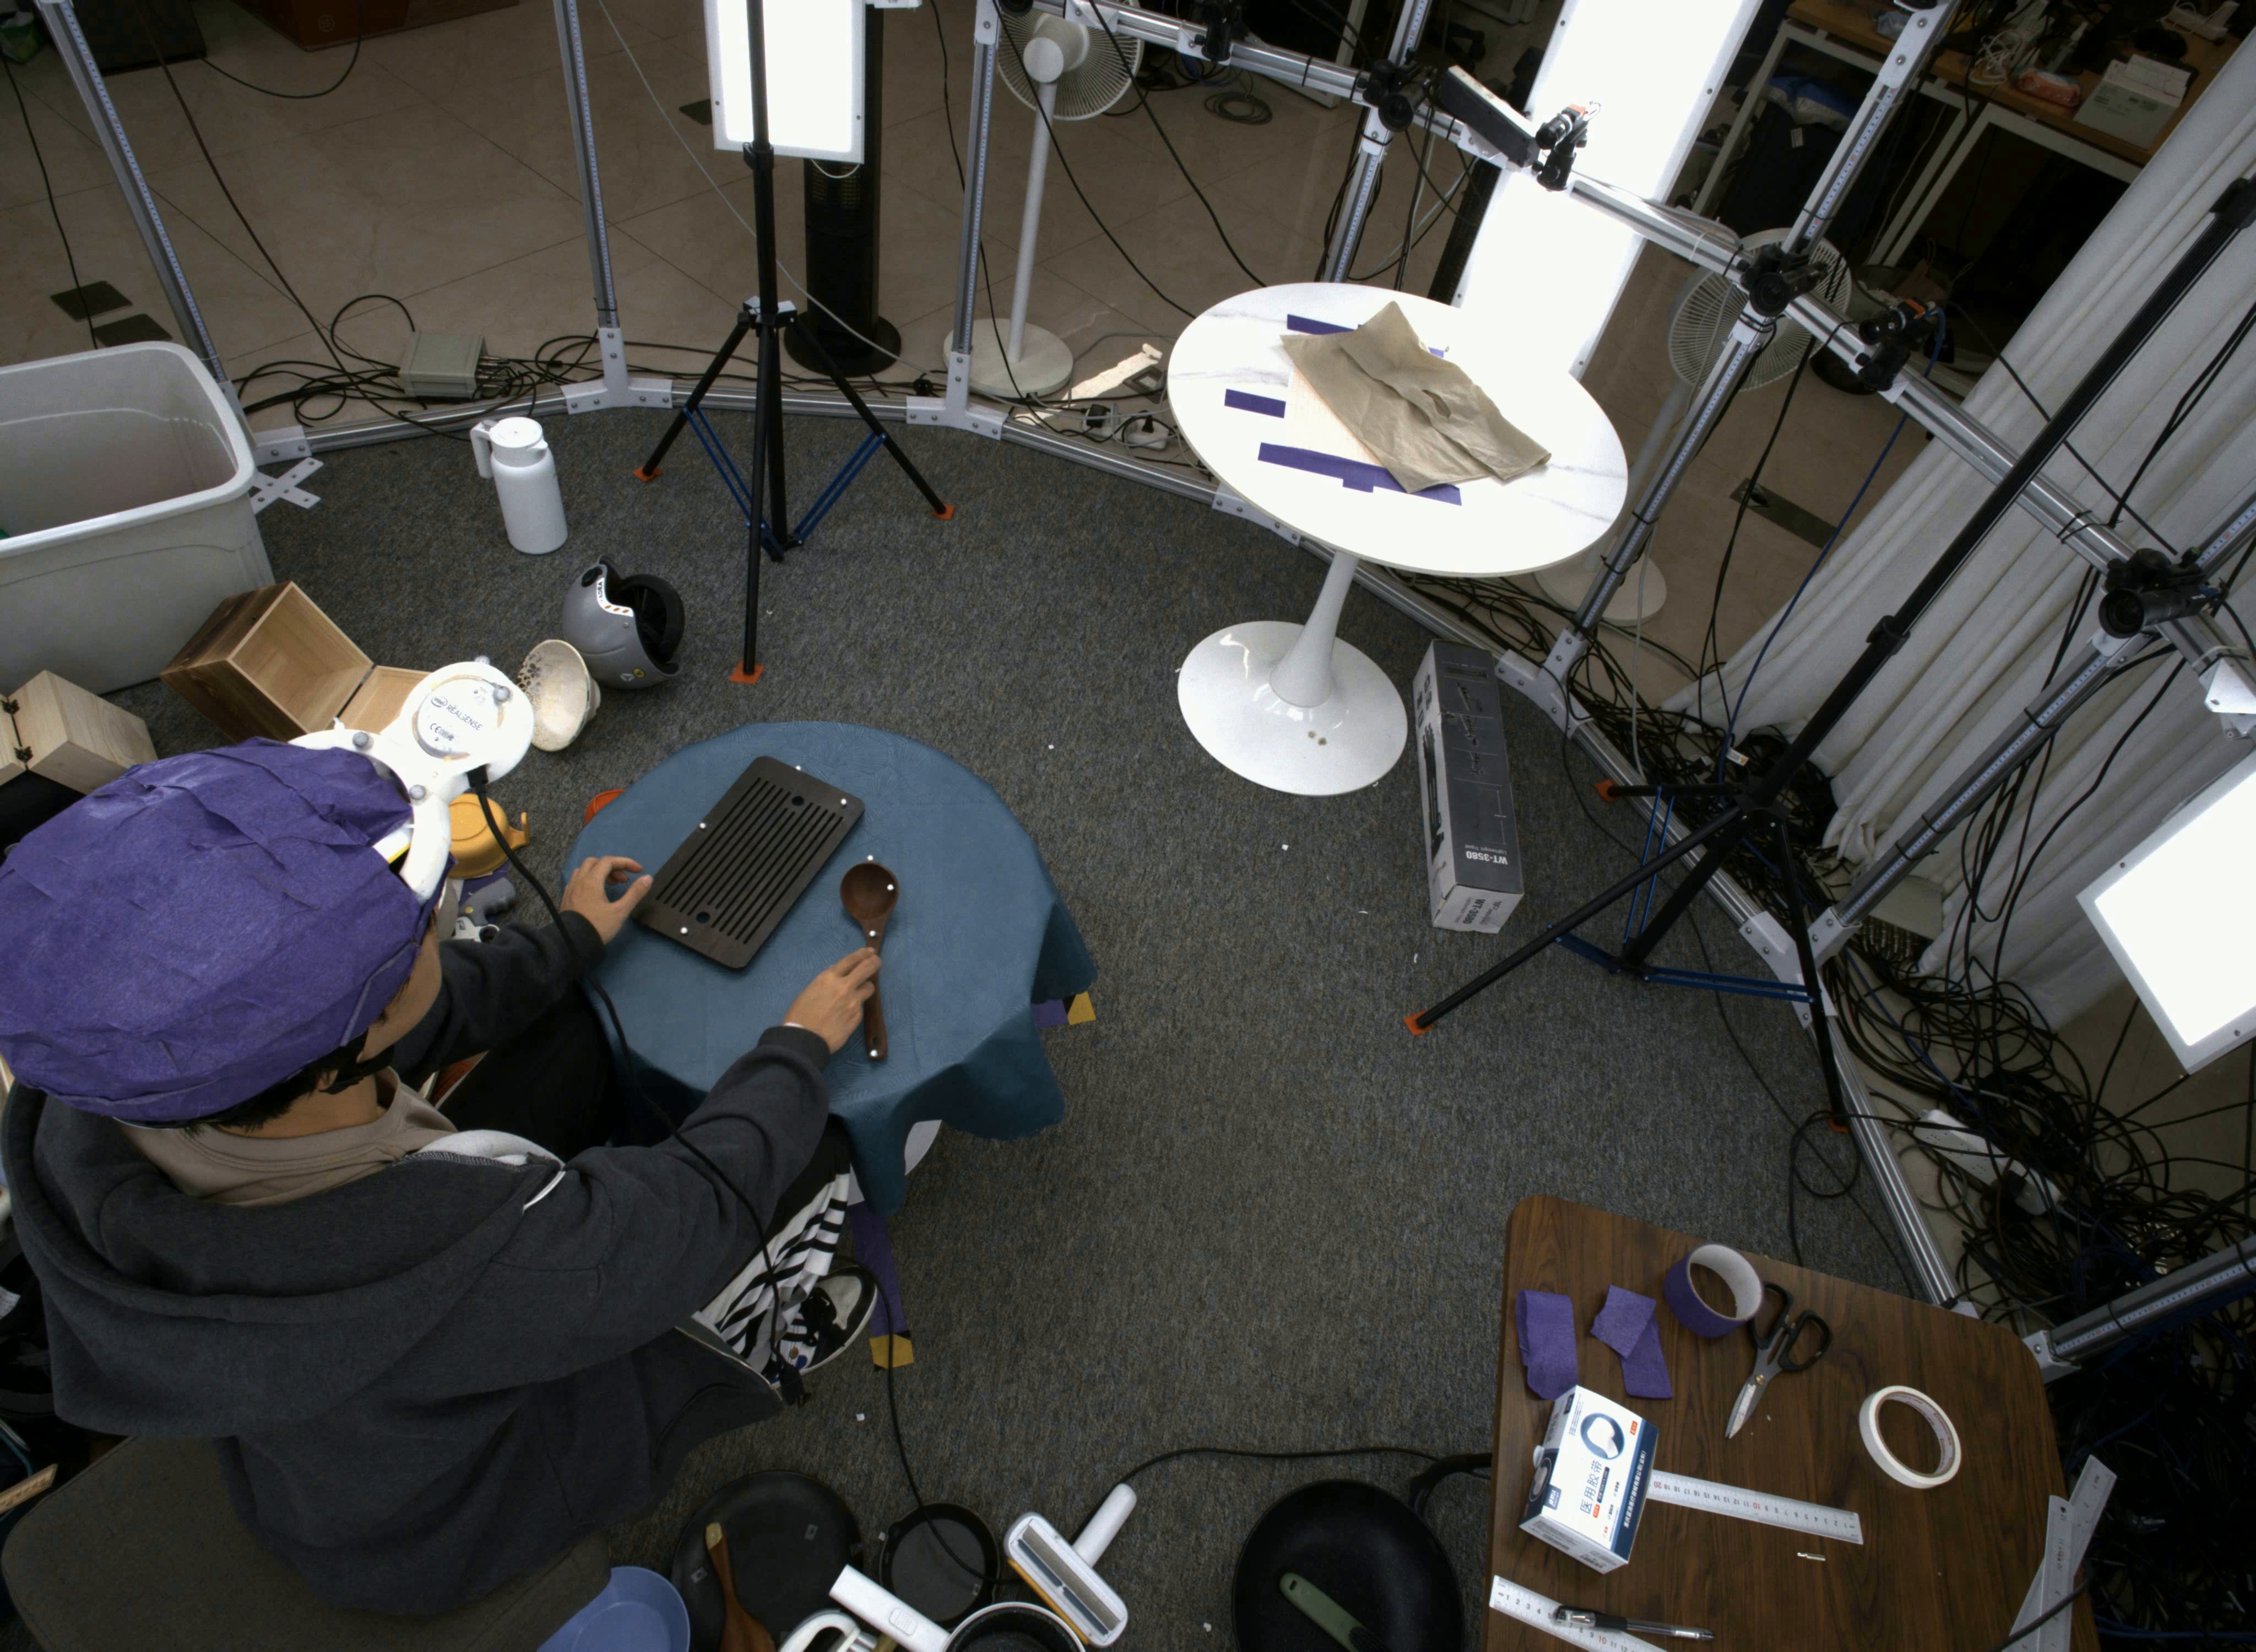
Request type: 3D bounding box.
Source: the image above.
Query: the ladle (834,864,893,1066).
[{"bbox_3d":[-0.323,0.163,1.592,0.075,0.067,0.255,-14,55,8],"label":"ladle"}]

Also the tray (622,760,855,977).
[{"bbox_3d":[-0.497,0.048,1.663,0.168,0.019,0.304,25,52,5],"label":"tray"}]
